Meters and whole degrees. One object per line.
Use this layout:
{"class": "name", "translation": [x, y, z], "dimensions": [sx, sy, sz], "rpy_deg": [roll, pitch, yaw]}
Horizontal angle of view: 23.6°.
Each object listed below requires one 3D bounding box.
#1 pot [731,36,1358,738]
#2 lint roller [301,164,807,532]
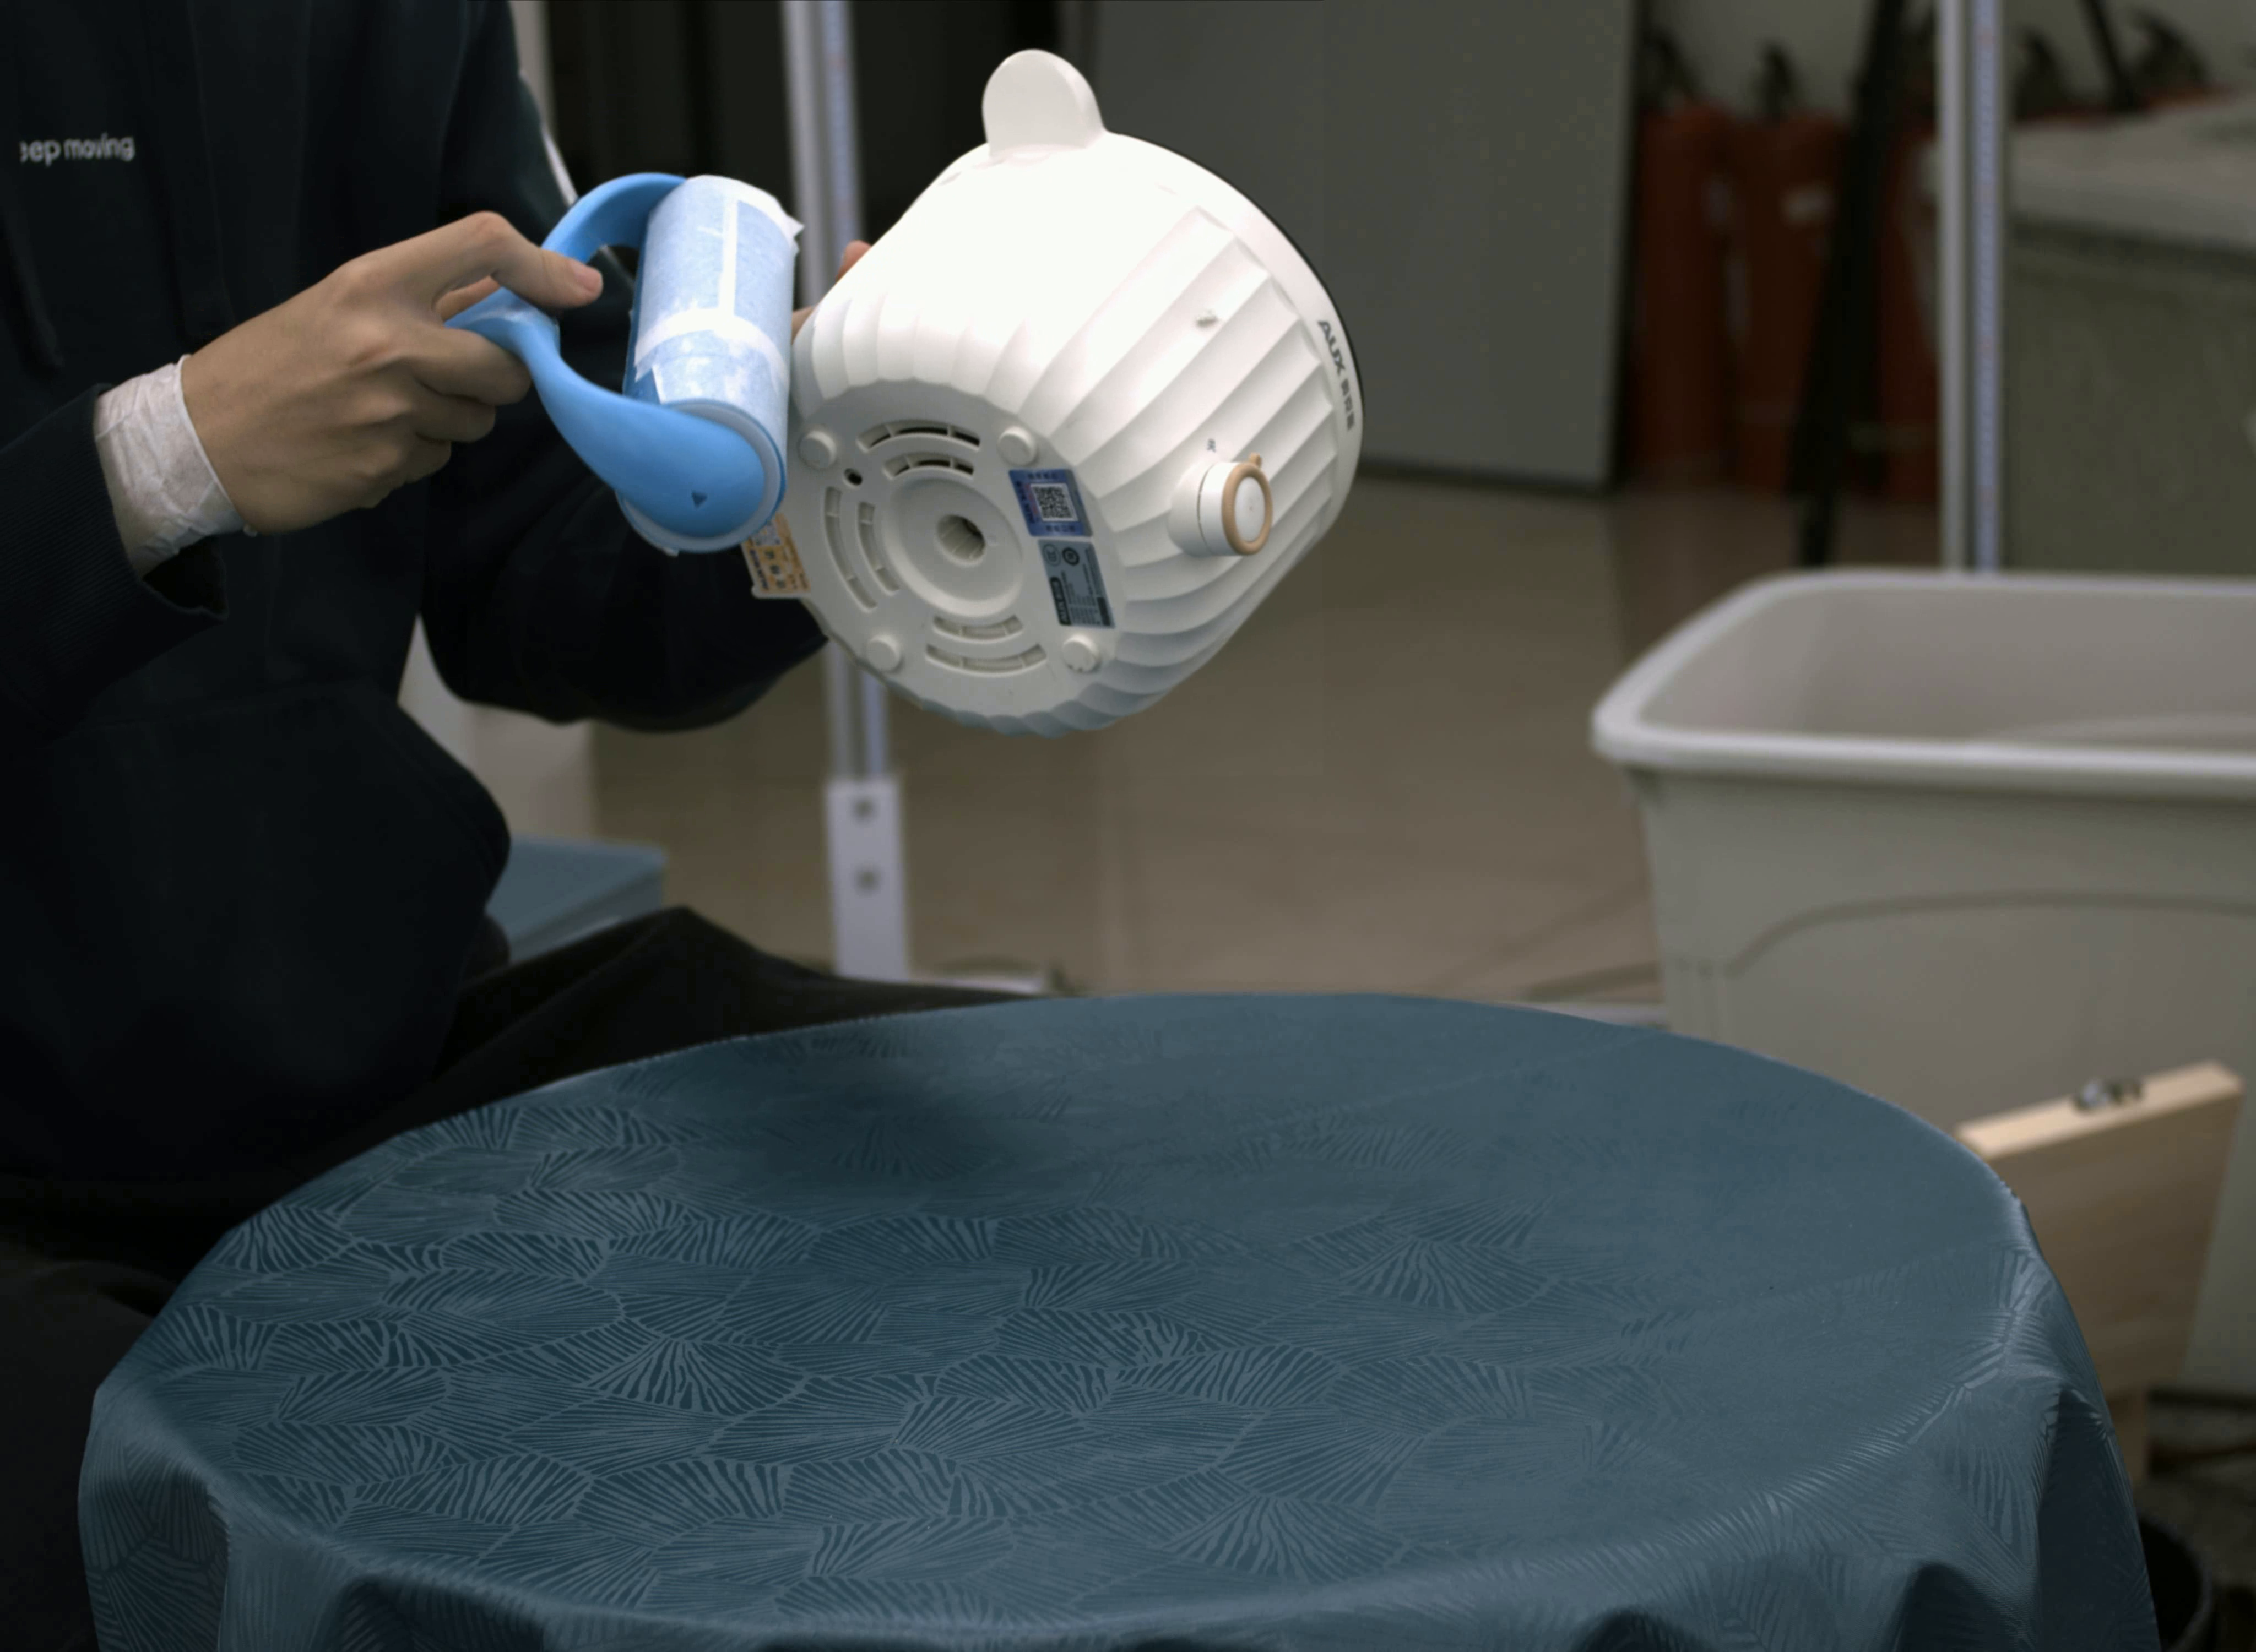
{"class": "pot", "translation": [-0.025, -0.125, 1.813], "dimensions": [0.191, 0.241, 0.141], "rpy_deg": [0, 32, 29]}
{"class": "lint roller", "translation": [-0.190, -0.145, 1.769], "dimensions": [0.178, 0.068, 0.230], "rpy_deg": [-14, 28, 1]}
